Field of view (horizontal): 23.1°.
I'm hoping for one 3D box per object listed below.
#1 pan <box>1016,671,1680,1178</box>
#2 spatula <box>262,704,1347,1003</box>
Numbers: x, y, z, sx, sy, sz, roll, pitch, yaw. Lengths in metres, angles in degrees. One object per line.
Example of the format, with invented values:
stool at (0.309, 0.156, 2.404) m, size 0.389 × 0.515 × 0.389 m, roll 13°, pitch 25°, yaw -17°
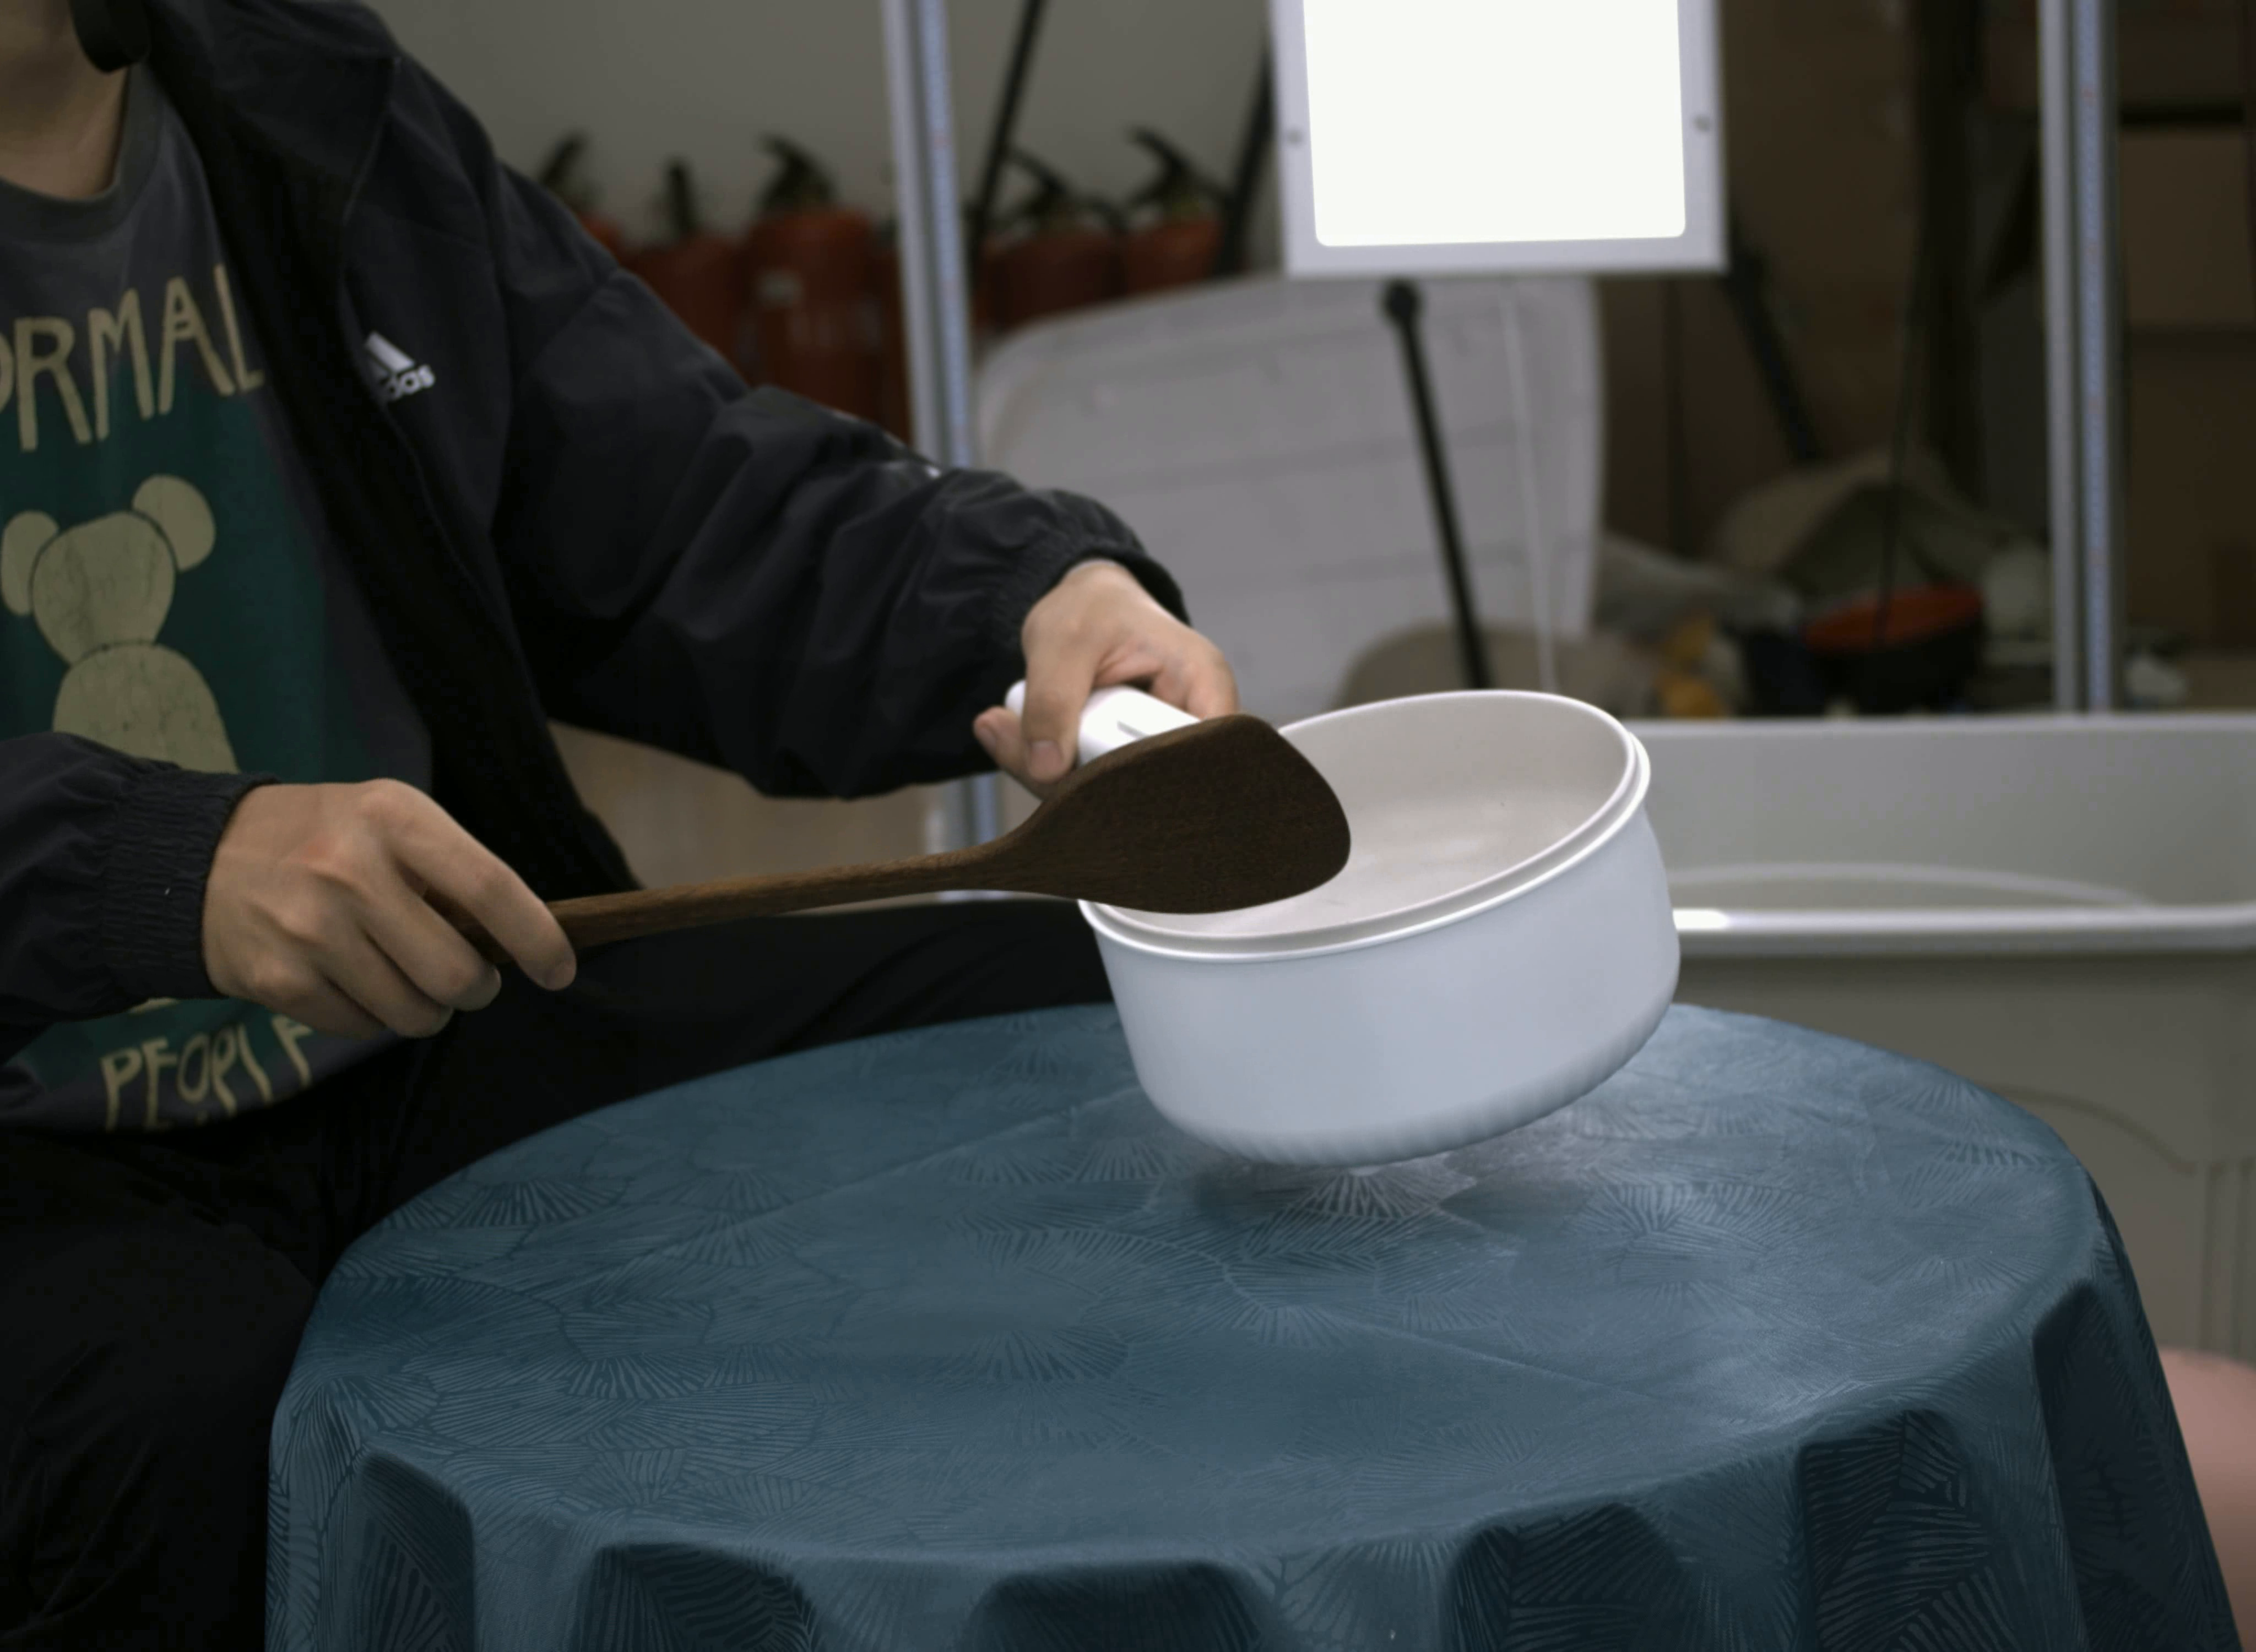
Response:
pan at (0.058, 0.024, 1.962) m, size 0.198 × 0.102 × 0.360 m, roll -25°, pitch 21°, yaw -19°
spatula at (-0.114, 0.020, 1.809) m, size 0.391 × 0.095 × 0.016 m, roll -9°, pitch 51°, yaw 22°
